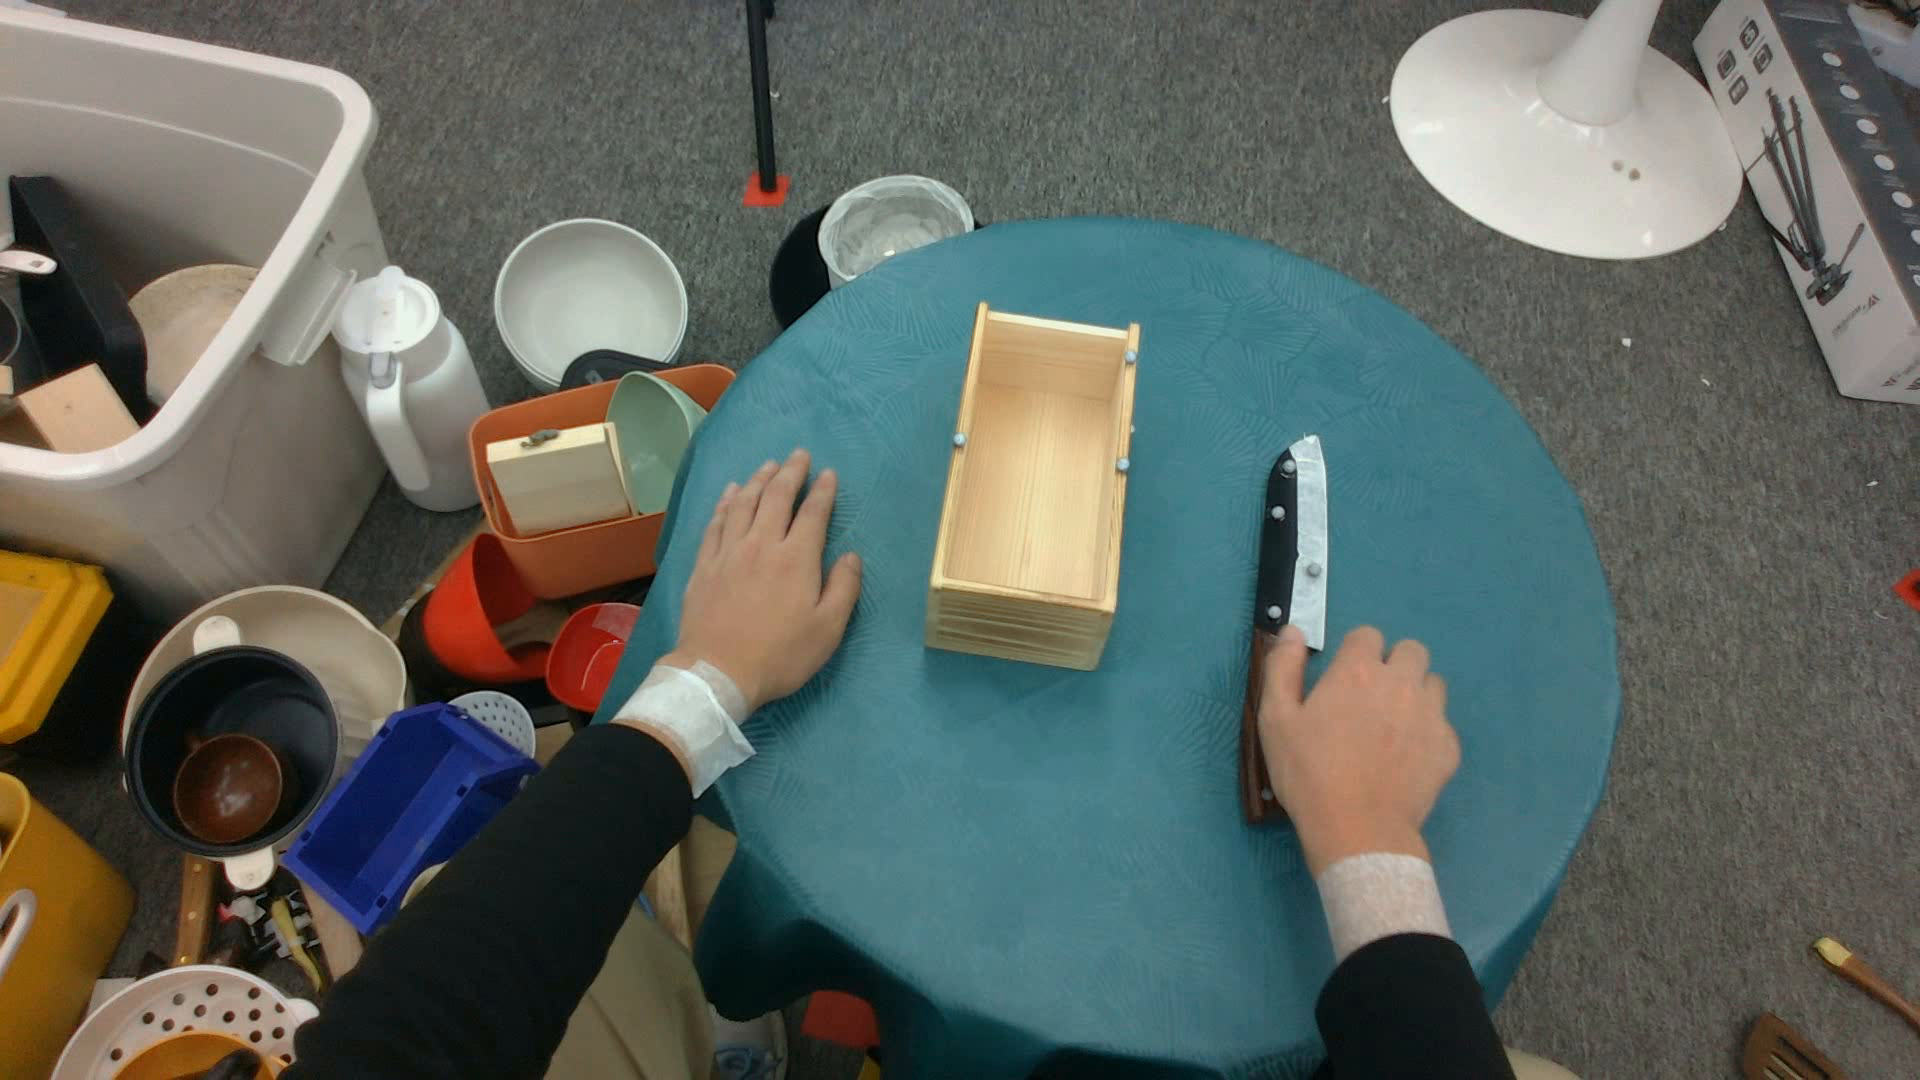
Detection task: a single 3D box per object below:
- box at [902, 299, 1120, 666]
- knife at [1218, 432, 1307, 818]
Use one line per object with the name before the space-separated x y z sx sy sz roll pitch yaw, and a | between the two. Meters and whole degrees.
box | 0.033 -0.039 0.852 0.107 0.080 0.212 8 58 0
knife | 0.190 0.041 0.856 0.050 0.020 0.290 17 56 -1
